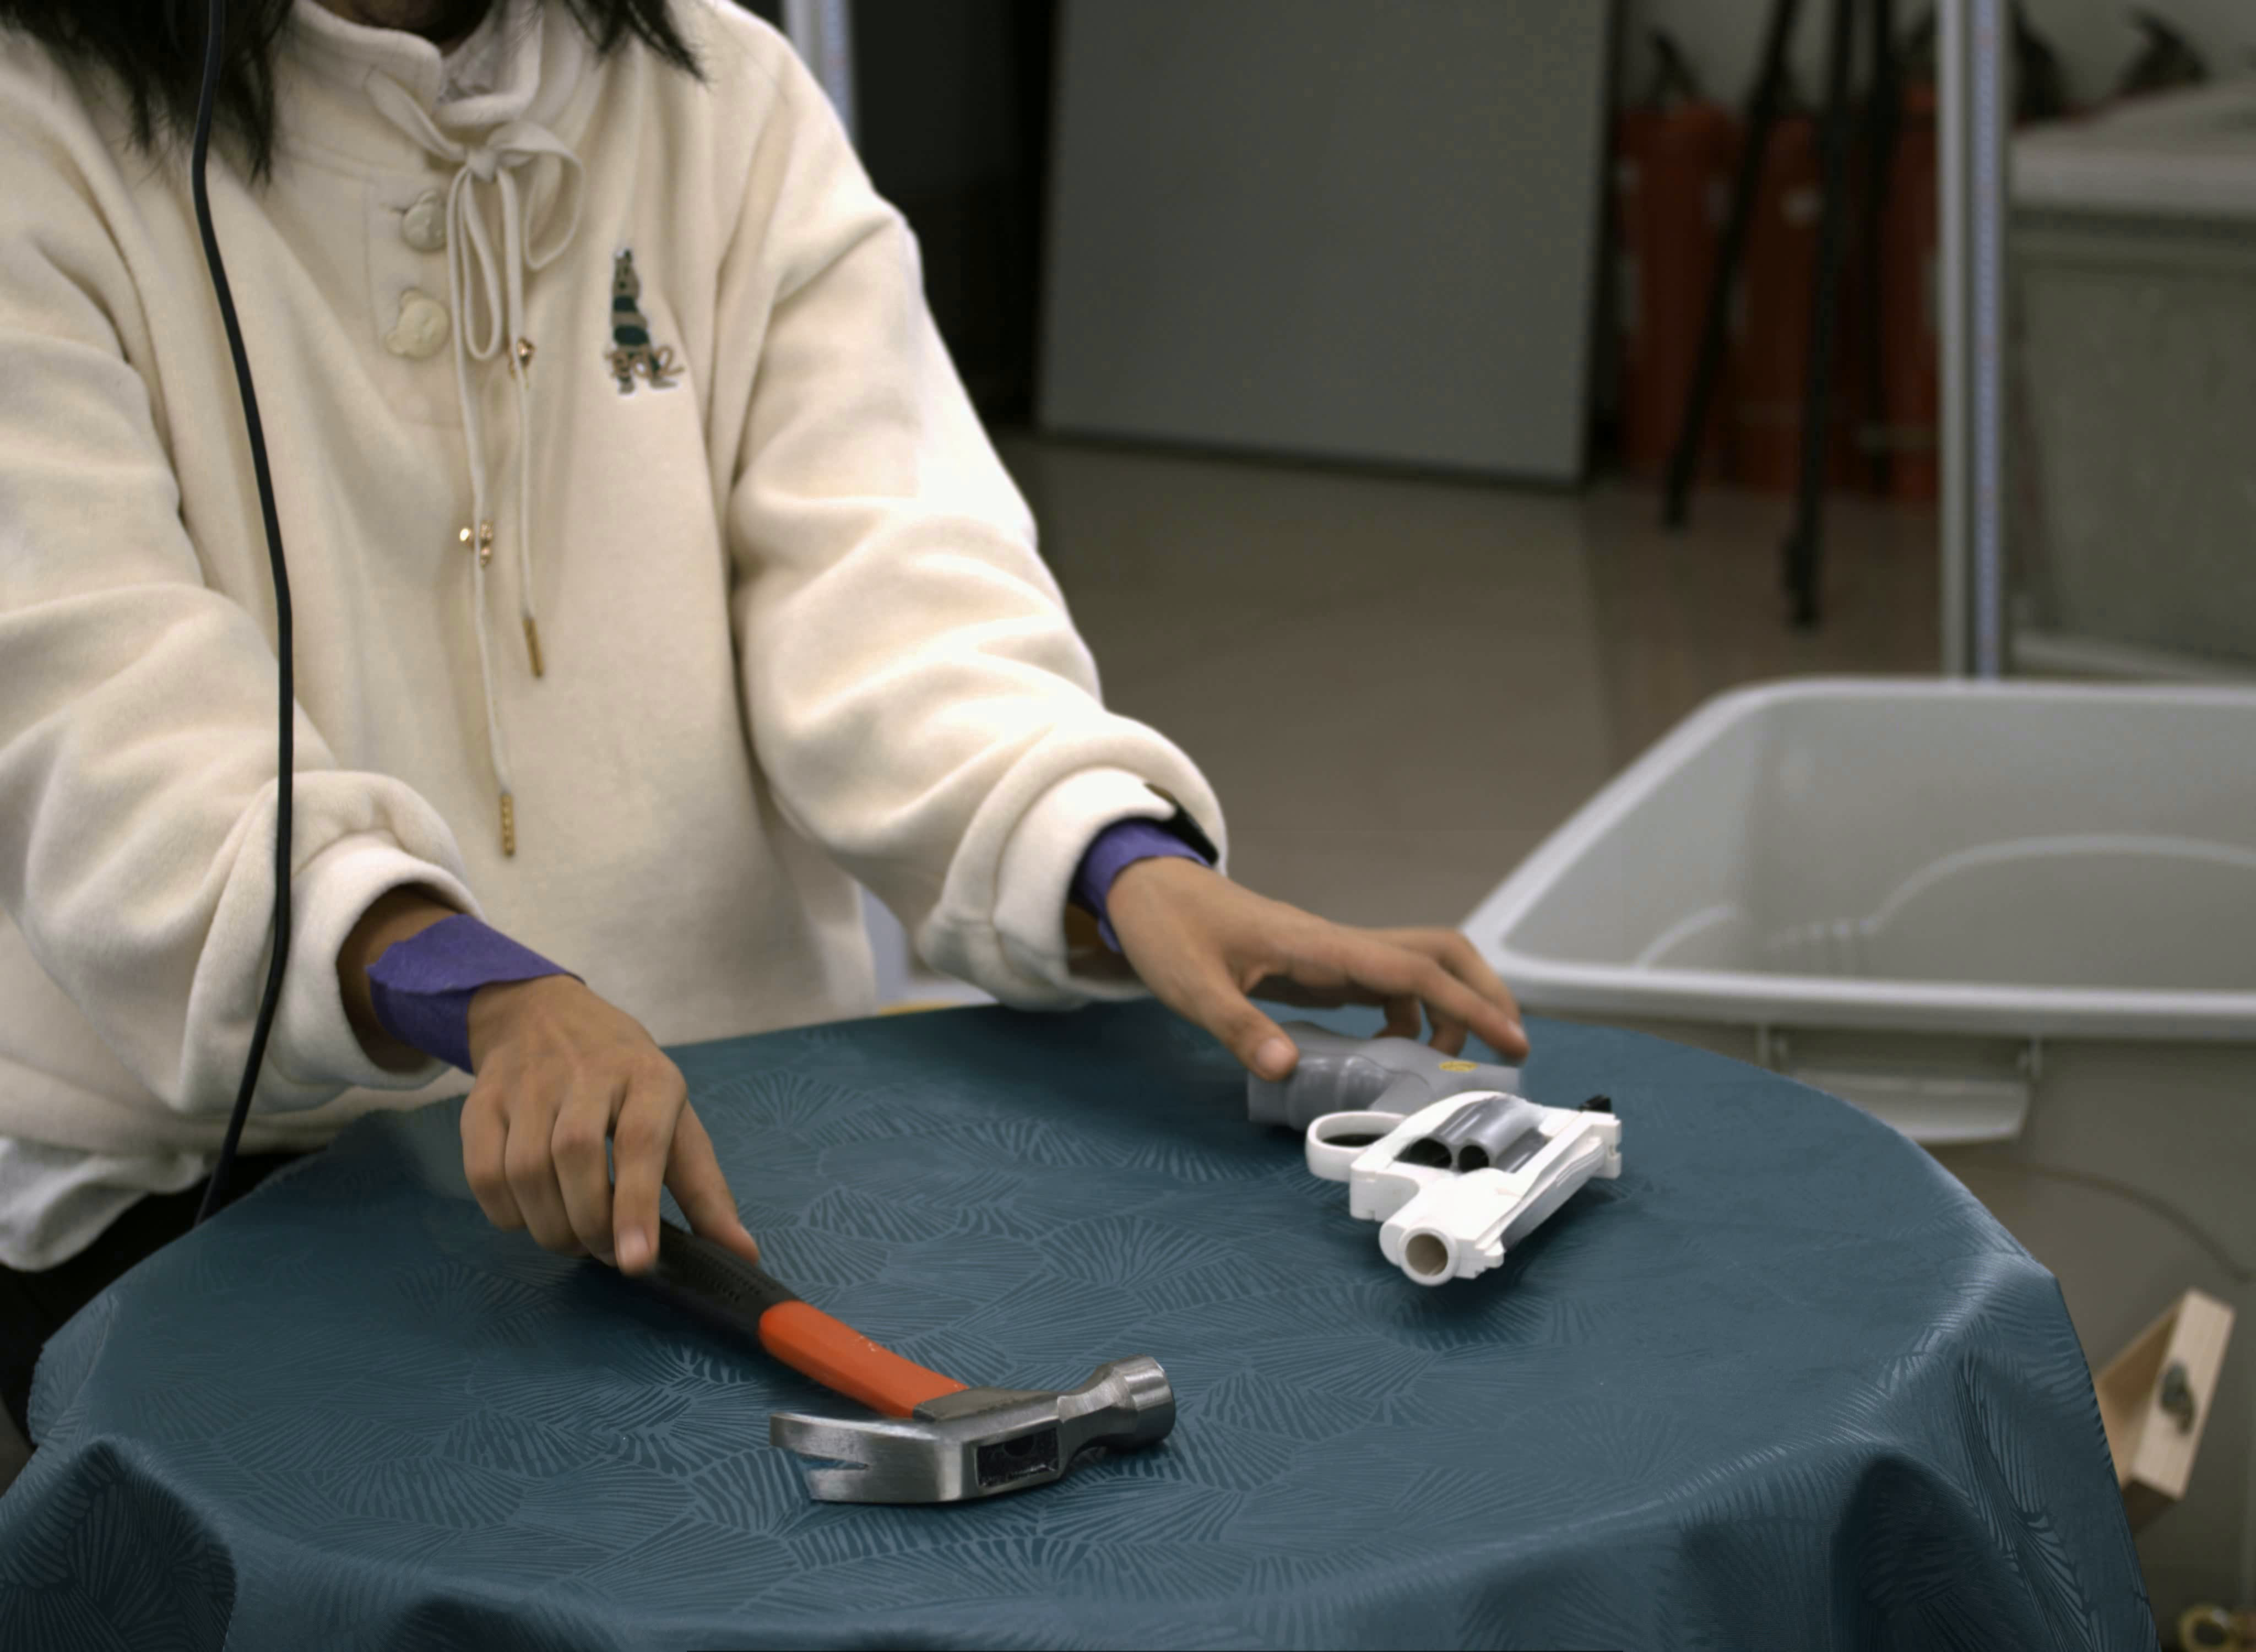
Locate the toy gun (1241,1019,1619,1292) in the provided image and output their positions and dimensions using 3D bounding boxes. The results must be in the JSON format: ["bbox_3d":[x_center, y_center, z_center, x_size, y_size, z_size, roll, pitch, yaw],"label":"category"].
[{"bbox_3d":[0.084,0.104,1.727,0.141,0.039,0.207,4,14,20],"label":"toy gun"}]

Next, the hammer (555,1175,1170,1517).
[{"bbox_3d":[-0.102,0.149,1.621,0.108,0.026,0.280,-21,20,-26],"label":"hammer"}]
